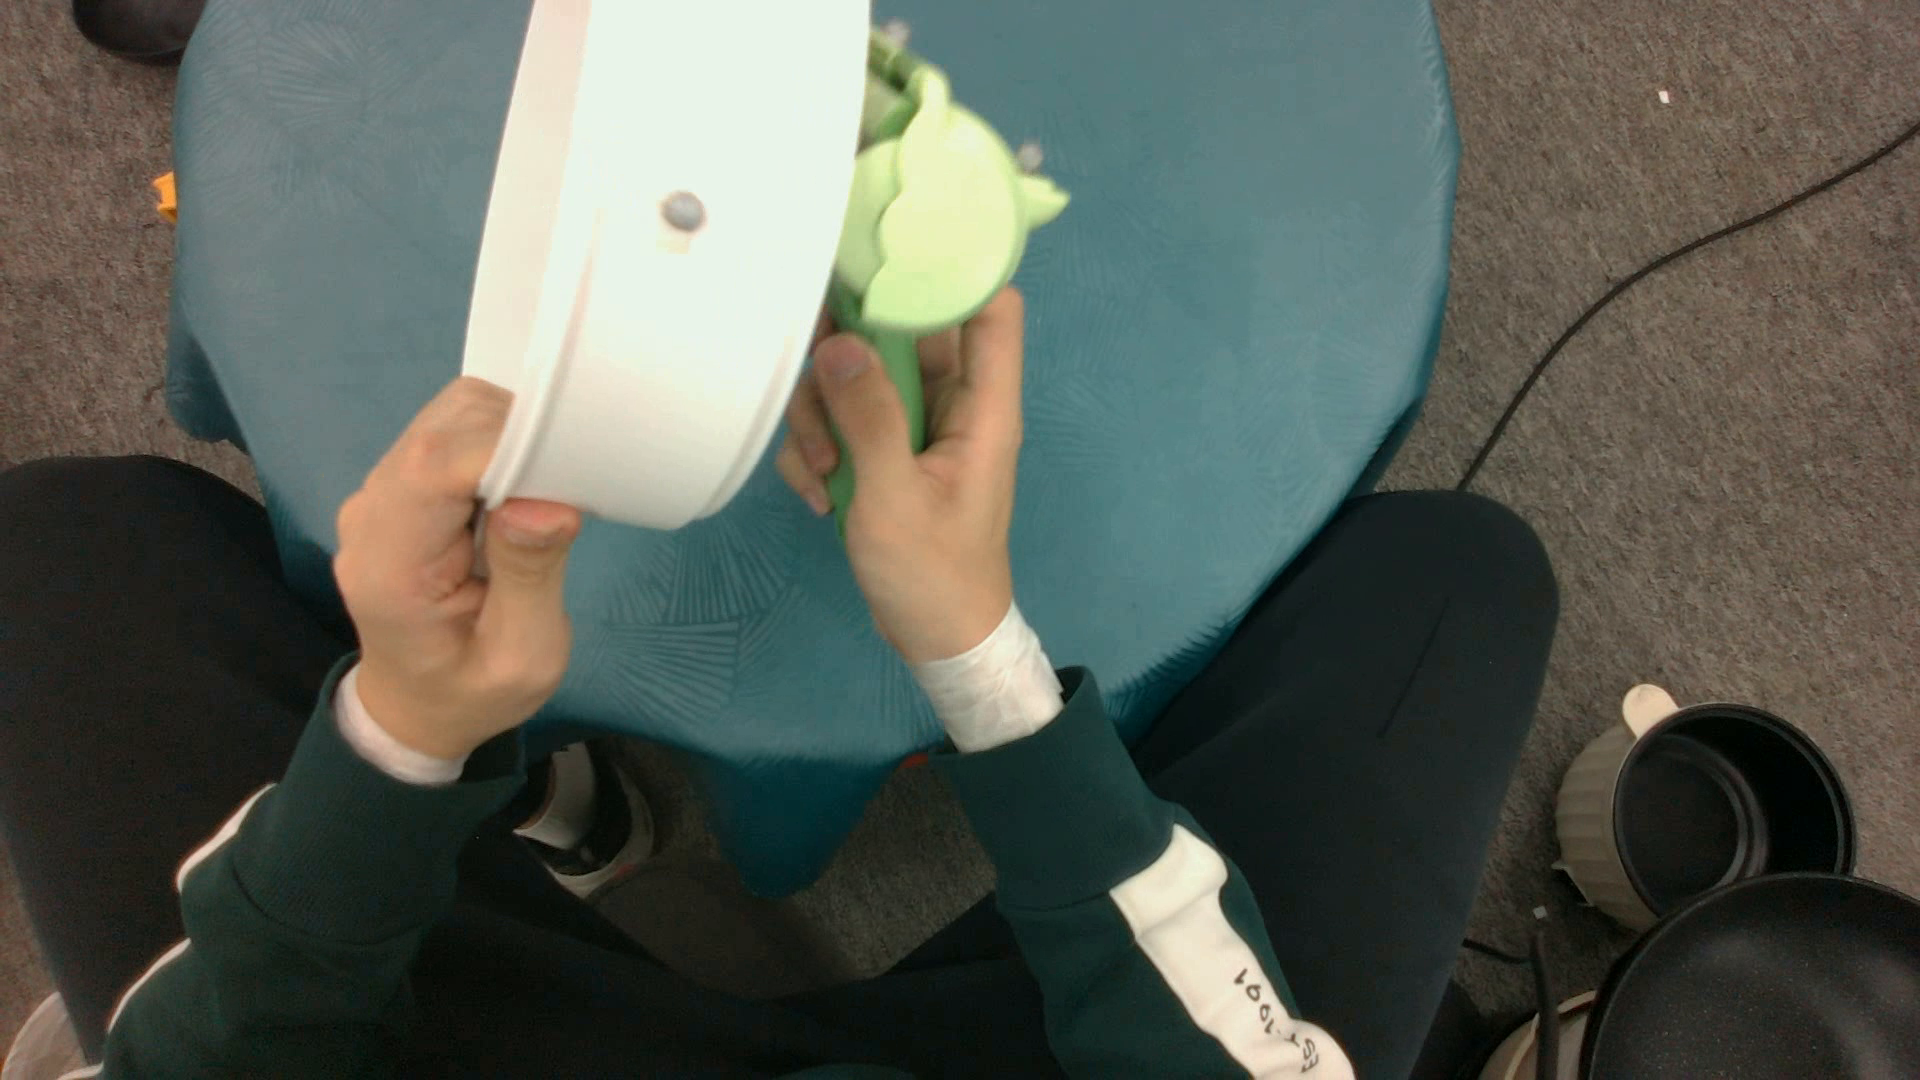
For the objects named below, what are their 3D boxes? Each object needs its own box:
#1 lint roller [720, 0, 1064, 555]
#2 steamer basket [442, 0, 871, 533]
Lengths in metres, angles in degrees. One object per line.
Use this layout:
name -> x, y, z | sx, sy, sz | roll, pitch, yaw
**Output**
lint roller -> -0.019, -0.082, 0.454 | 0.082, 0.199, 0.182 | -19, 121, -10
steamer basket -> -0.093, -0.109, 0.397 | 0.069, 0.202, 0.230 | 11, 106, -28
